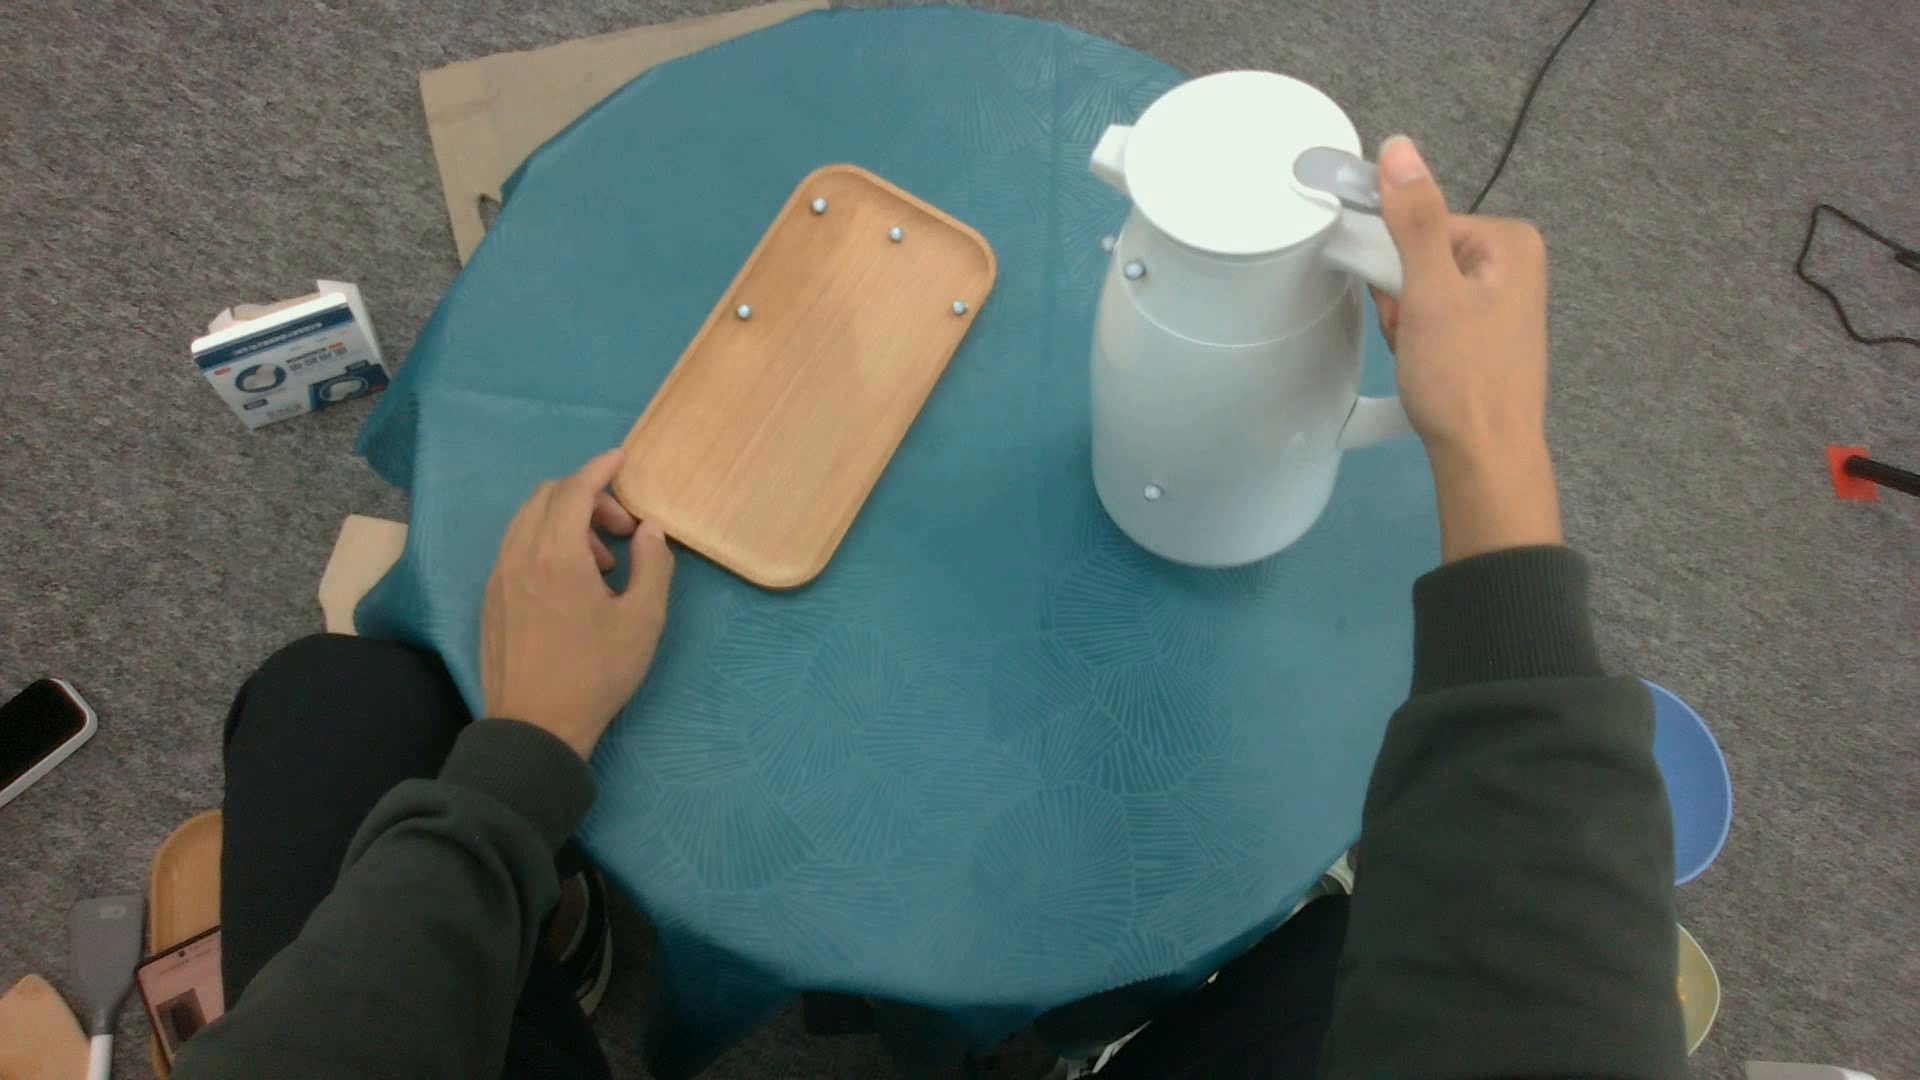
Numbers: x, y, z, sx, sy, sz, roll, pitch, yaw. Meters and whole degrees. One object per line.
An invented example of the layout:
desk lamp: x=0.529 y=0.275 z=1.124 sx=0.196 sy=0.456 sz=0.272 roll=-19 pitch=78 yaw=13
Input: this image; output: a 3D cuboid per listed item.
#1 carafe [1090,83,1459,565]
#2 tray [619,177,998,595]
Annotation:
carafe: x=0.145 y=-0.094 z=0.653 sx=0.167 sy=0.248 sz=0.133 roll=21 pitch=68 yaw=17
tray: x=-0.081 y=-0.092 z=0.784 sx=0.130 sy=0.023 sz=0.251 roll=28 pitch=70 yaw=5
